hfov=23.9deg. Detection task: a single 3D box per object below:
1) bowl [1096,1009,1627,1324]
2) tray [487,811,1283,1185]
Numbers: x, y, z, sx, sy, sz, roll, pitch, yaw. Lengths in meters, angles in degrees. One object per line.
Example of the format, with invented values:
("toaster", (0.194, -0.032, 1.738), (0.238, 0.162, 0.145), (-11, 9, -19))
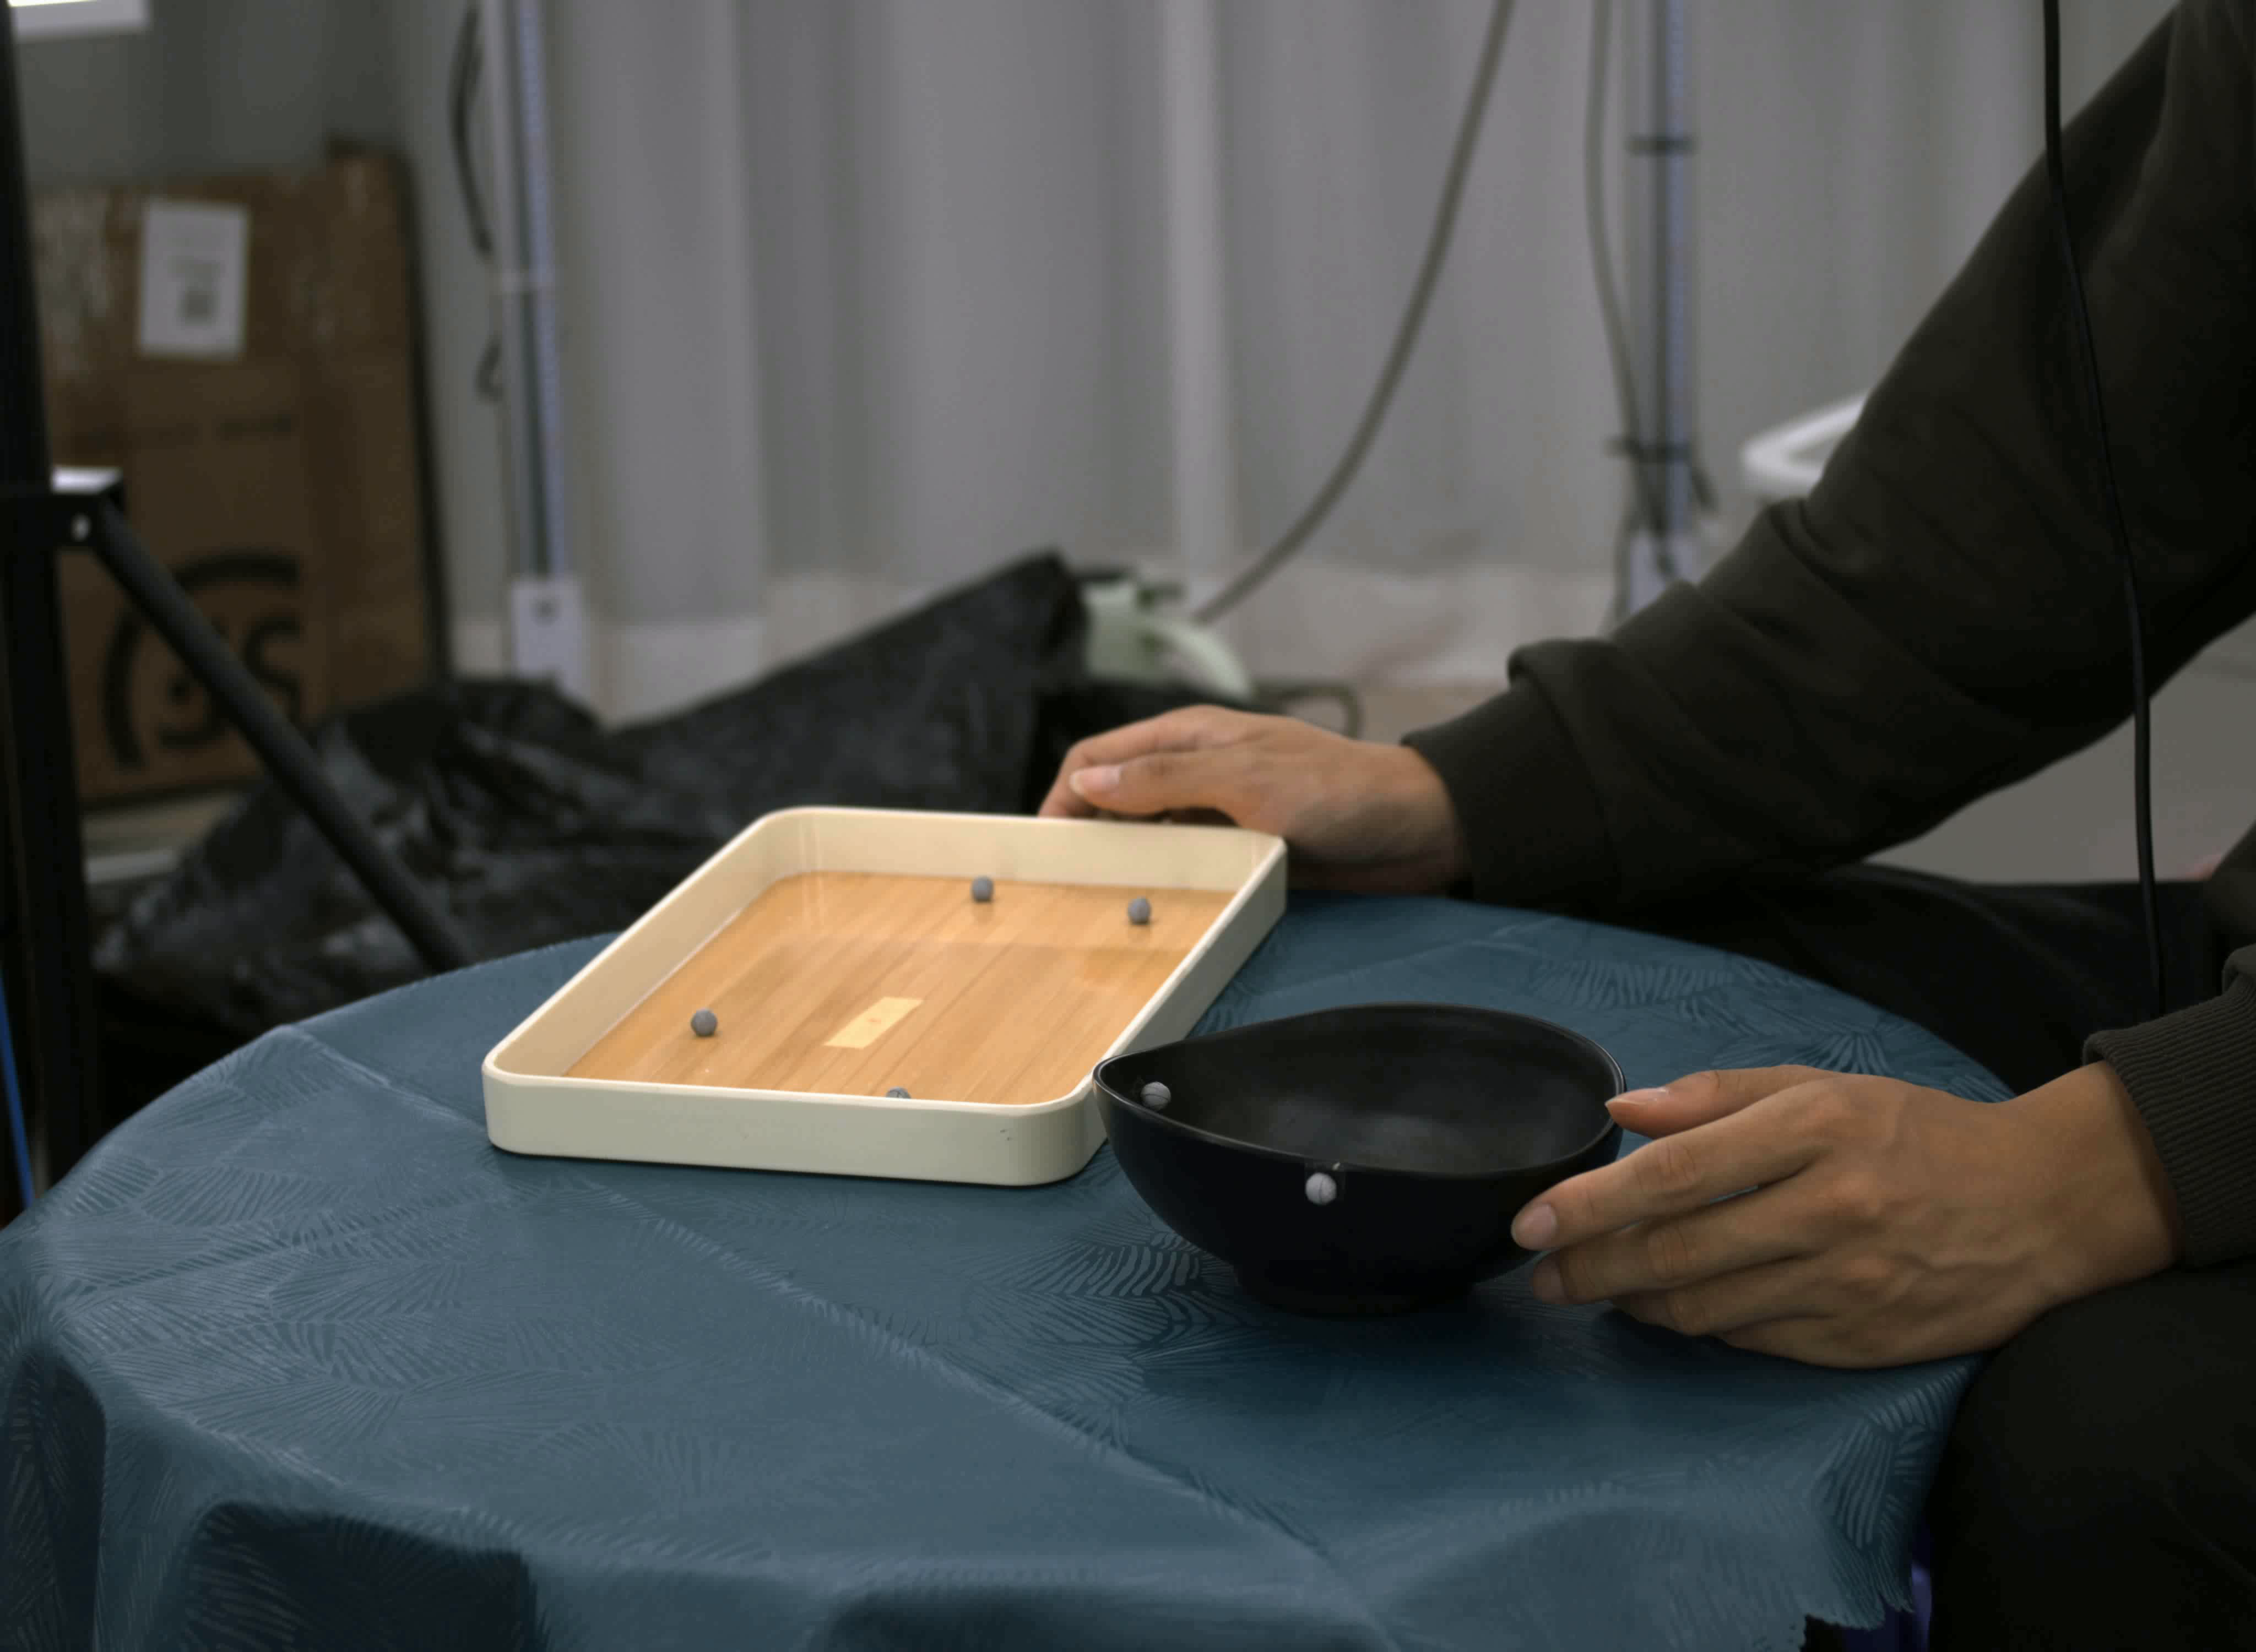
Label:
("bowl", (0.063, 0.098, 1.475), (0.134, 0.067, 0.174), (-11, 16, -33))
("tray", (-0.070, 0.051, 1.722), (0.193, 0.027, 0.298), (2, 17, 15))
